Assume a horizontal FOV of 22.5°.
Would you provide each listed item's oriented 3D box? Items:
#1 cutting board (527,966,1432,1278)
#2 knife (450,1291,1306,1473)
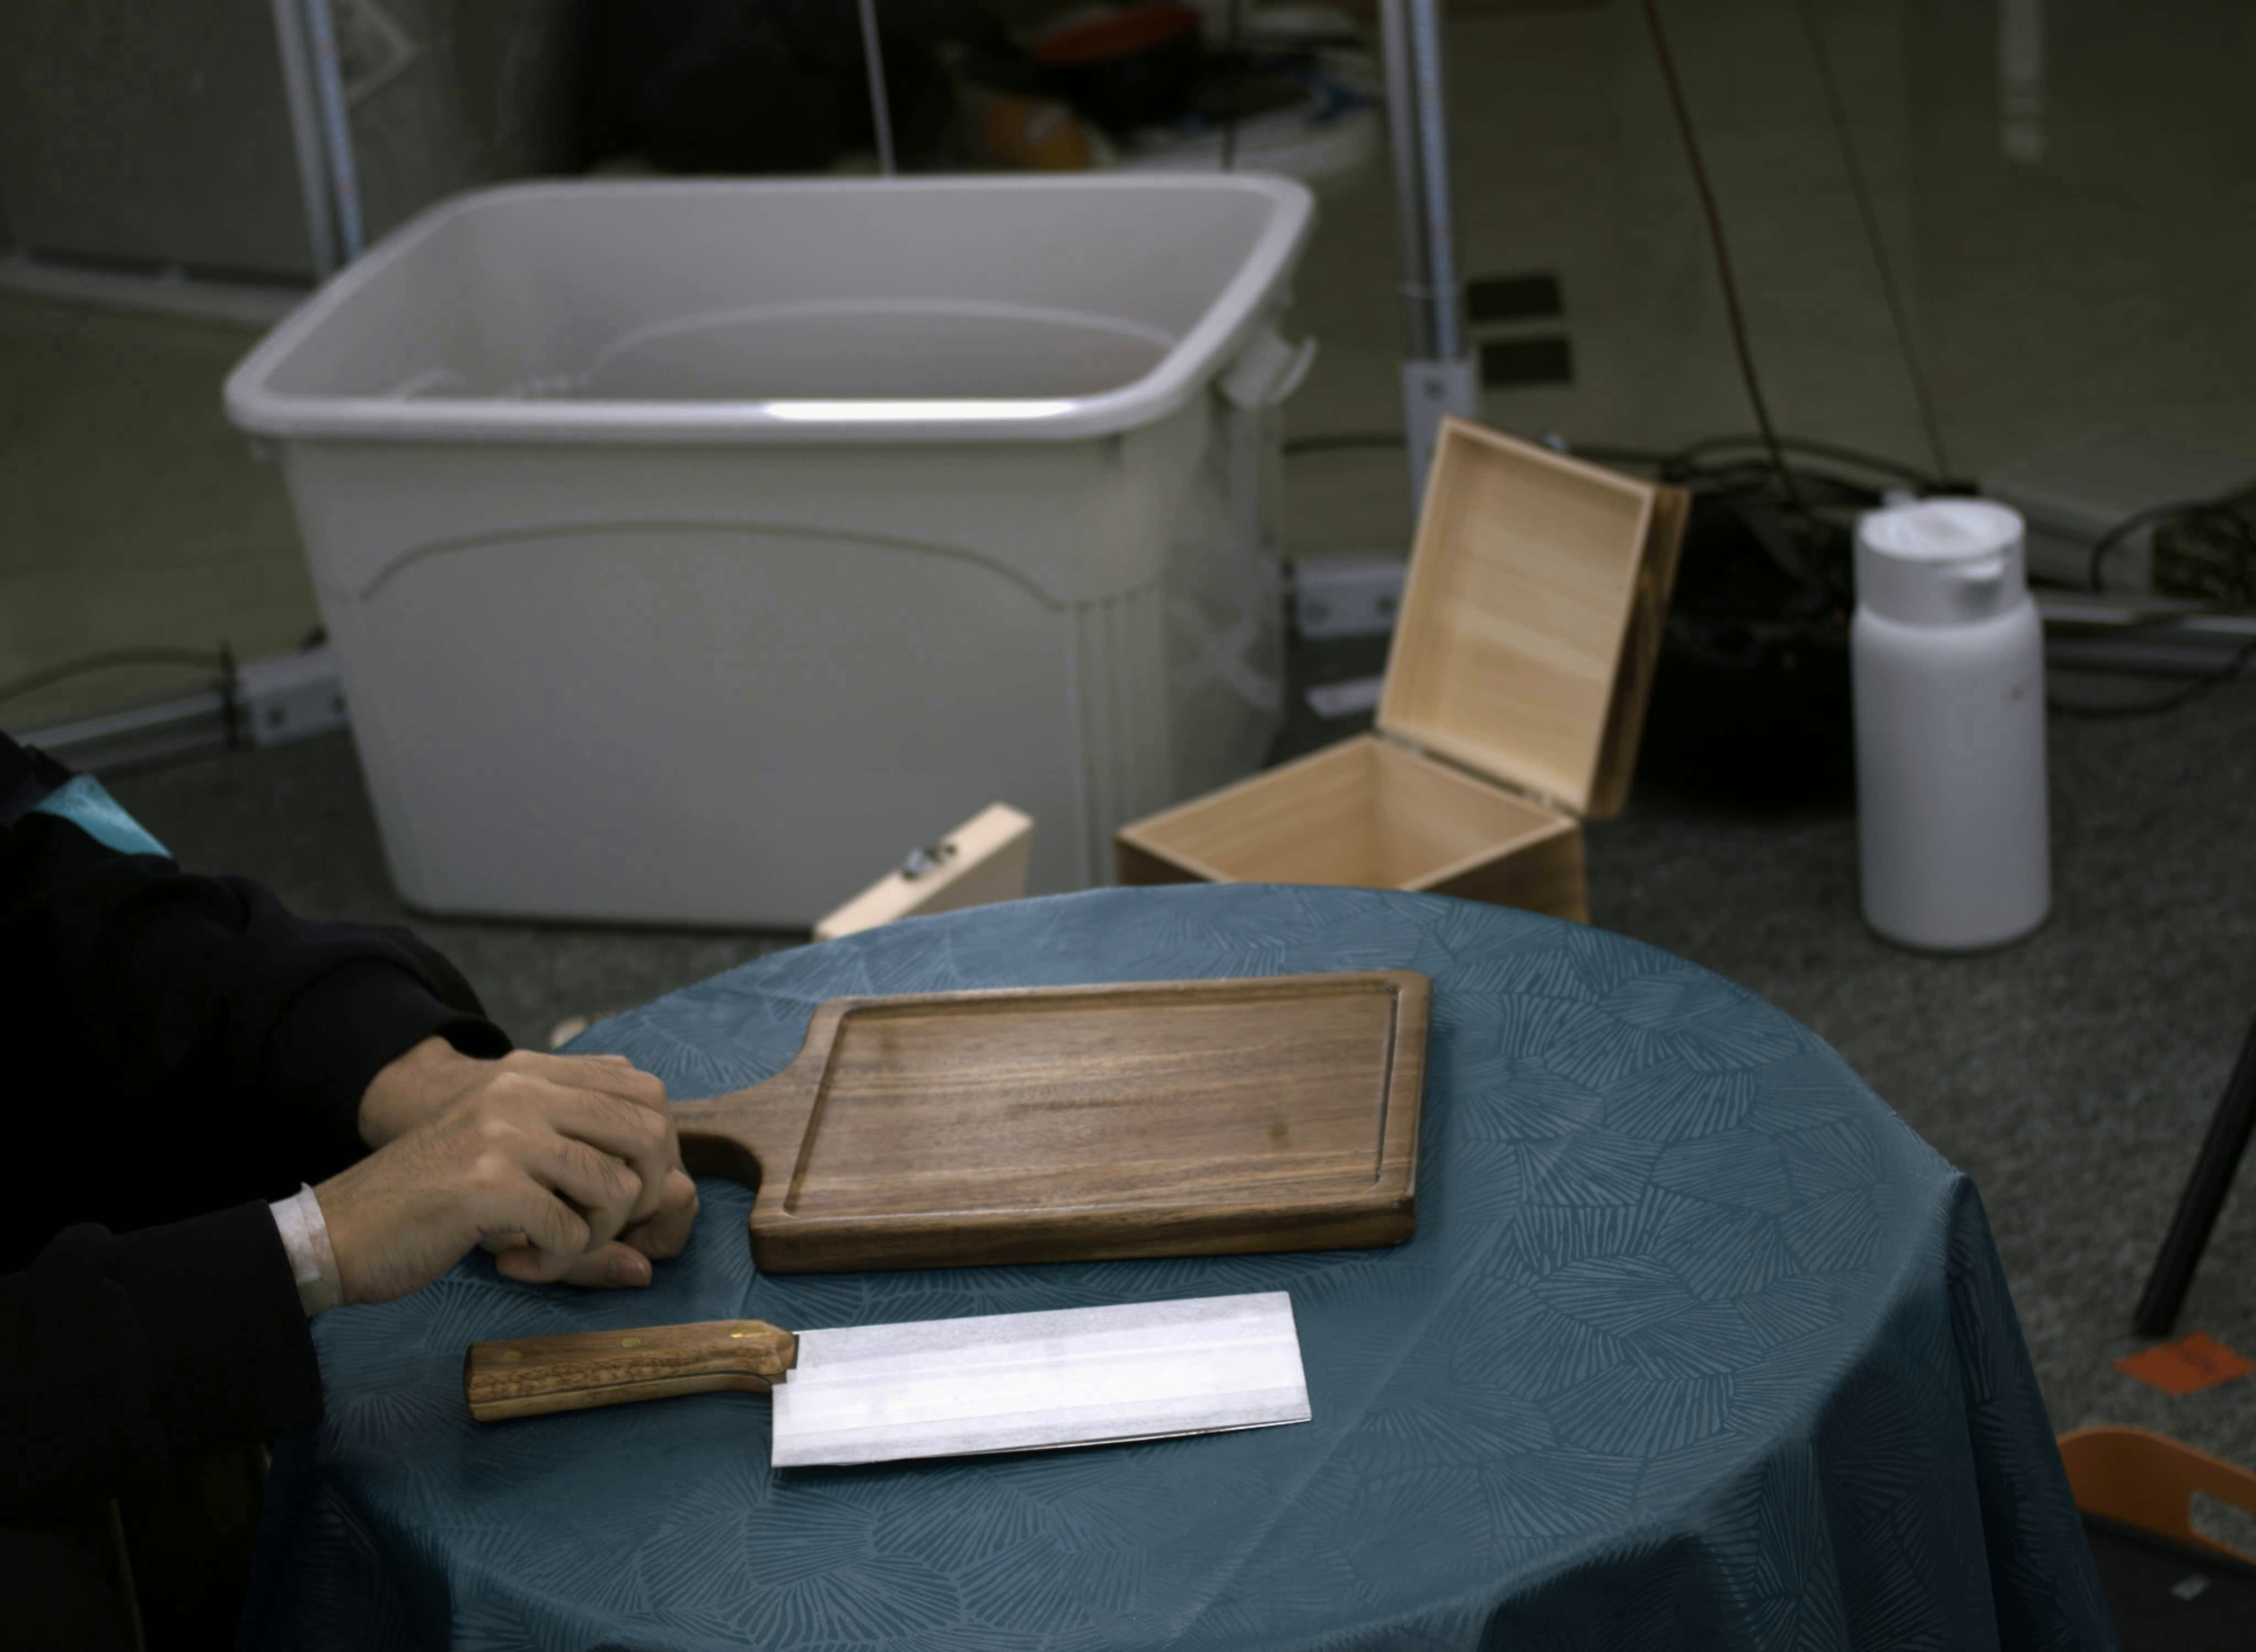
[{"bbox_3d":[-0.058,0.115,2.189,0.351,0.023,0.198,-4,25,7],"label":"cutting board"},{"bbox_3d":[-0.090,0.200,2.020,0.305,0.021,0.091,-5,27,-2],"label":"knife"}]
